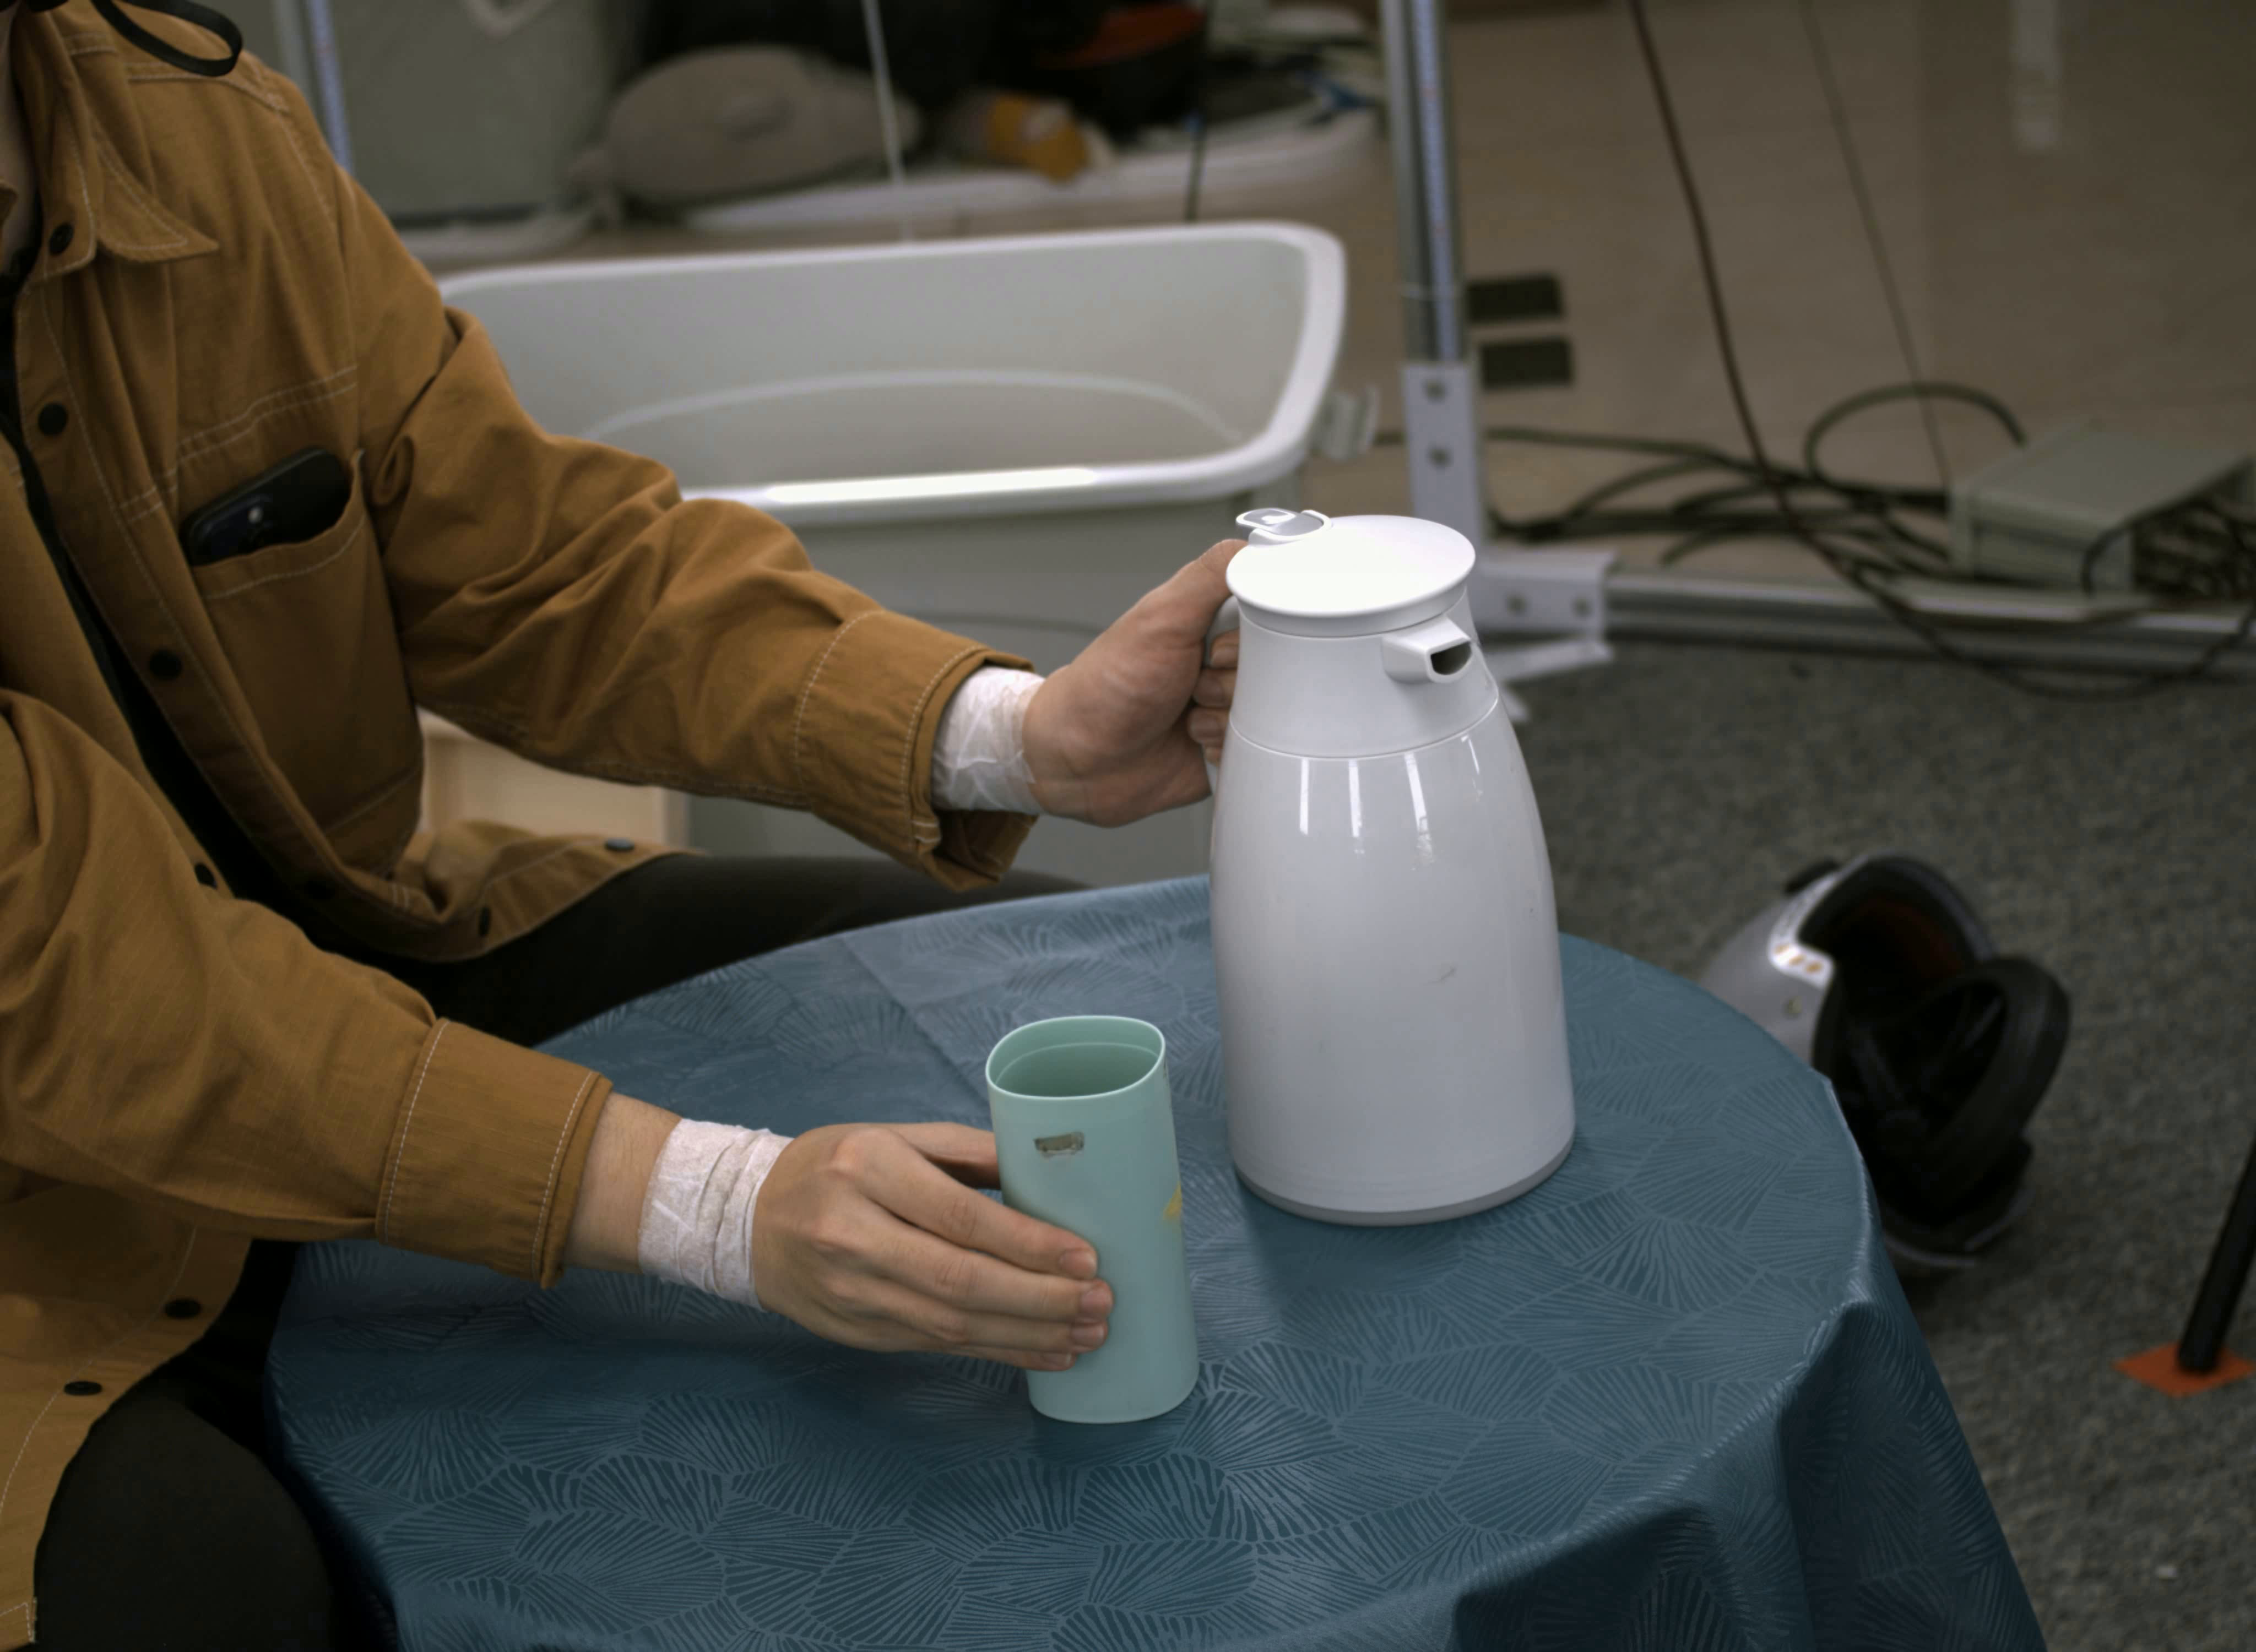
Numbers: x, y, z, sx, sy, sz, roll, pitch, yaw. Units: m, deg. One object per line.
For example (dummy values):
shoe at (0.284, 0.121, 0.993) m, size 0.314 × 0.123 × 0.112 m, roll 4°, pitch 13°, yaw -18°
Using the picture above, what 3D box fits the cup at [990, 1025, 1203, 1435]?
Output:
cup at (-0.012, 0.142, 1.998) m, size 0.066 × 0.134 × 0.066 m, roll -5°, pitch 26°, yaw 2°

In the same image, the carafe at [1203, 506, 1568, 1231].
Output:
carafe at (0.082, 0.006, 2.123) m, size 0.132 × 0.252 × 0.166 m, roll -19°, pitch 27°, yaw -26°
